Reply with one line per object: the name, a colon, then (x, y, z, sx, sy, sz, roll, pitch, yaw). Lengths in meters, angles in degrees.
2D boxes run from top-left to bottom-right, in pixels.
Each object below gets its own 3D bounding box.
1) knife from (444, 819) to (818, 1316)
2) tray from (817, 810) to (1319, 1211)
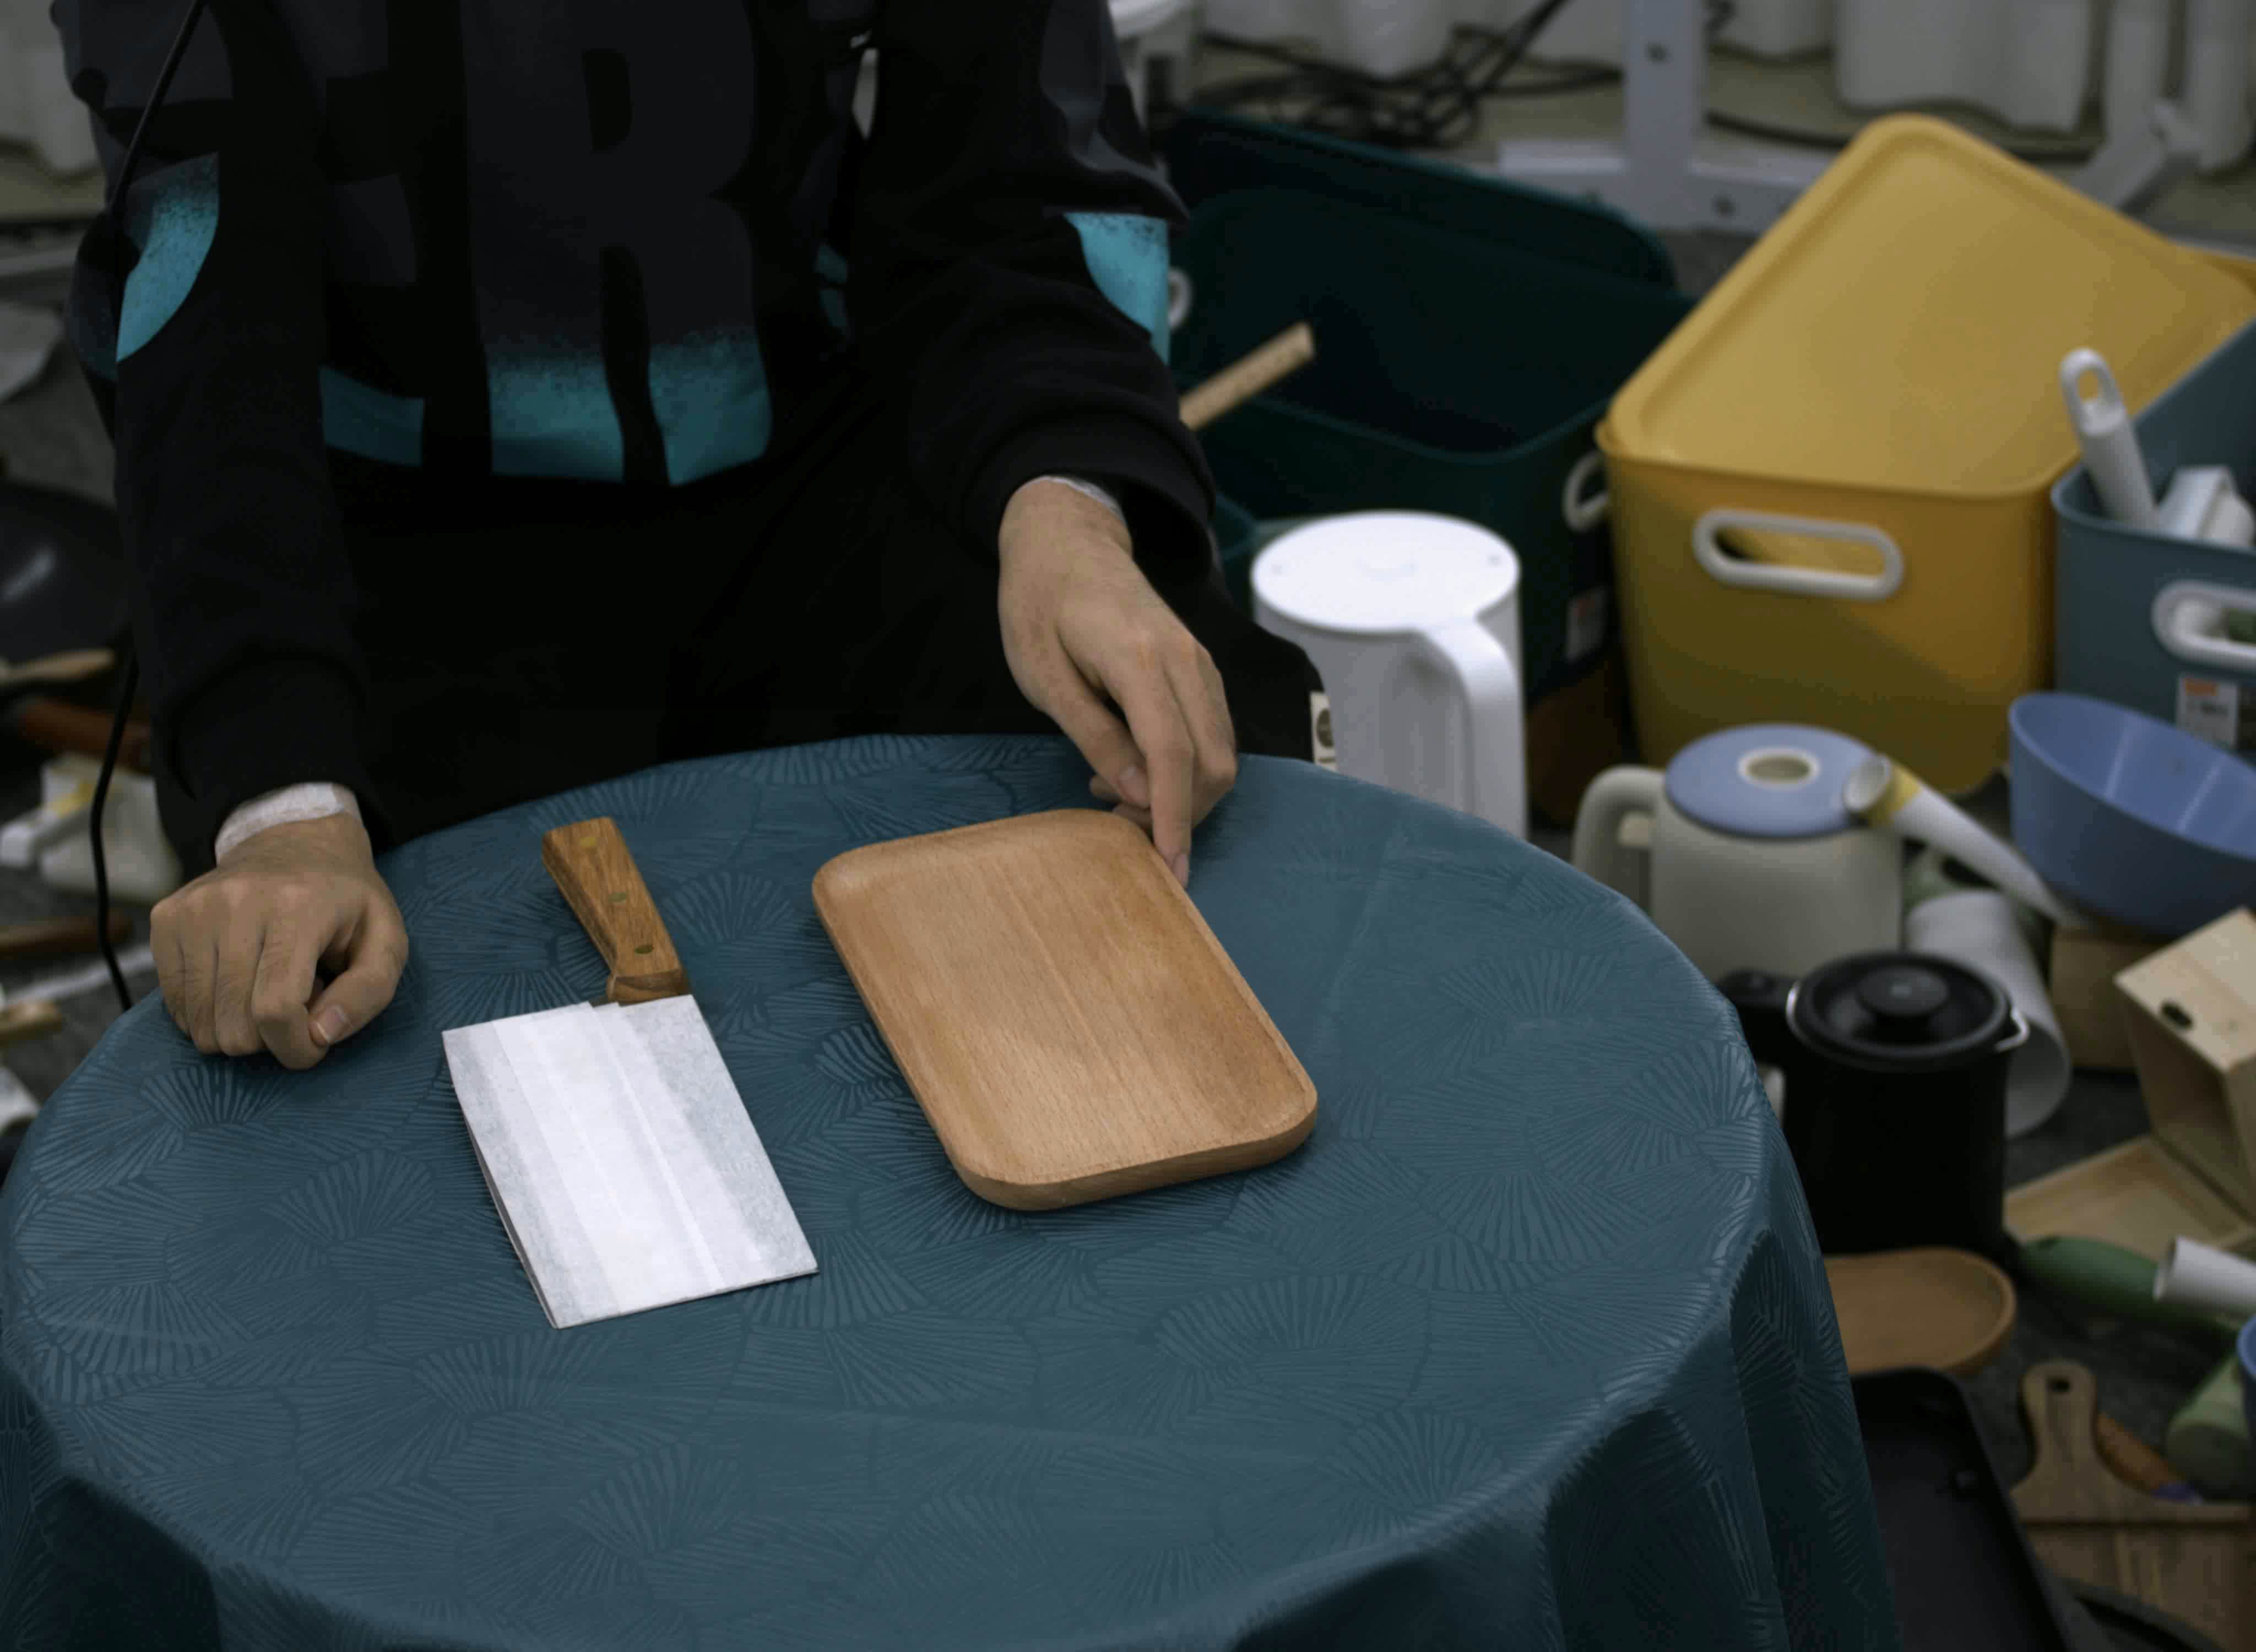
knife: (-0.185, 0.082, 1.941, 0.093, 0.021, 0.309, -12, 31, -13)
tray: (-0.024, 0.062, 1.963, 0.130, 0.022, 0.253, -8, 27, -13)
